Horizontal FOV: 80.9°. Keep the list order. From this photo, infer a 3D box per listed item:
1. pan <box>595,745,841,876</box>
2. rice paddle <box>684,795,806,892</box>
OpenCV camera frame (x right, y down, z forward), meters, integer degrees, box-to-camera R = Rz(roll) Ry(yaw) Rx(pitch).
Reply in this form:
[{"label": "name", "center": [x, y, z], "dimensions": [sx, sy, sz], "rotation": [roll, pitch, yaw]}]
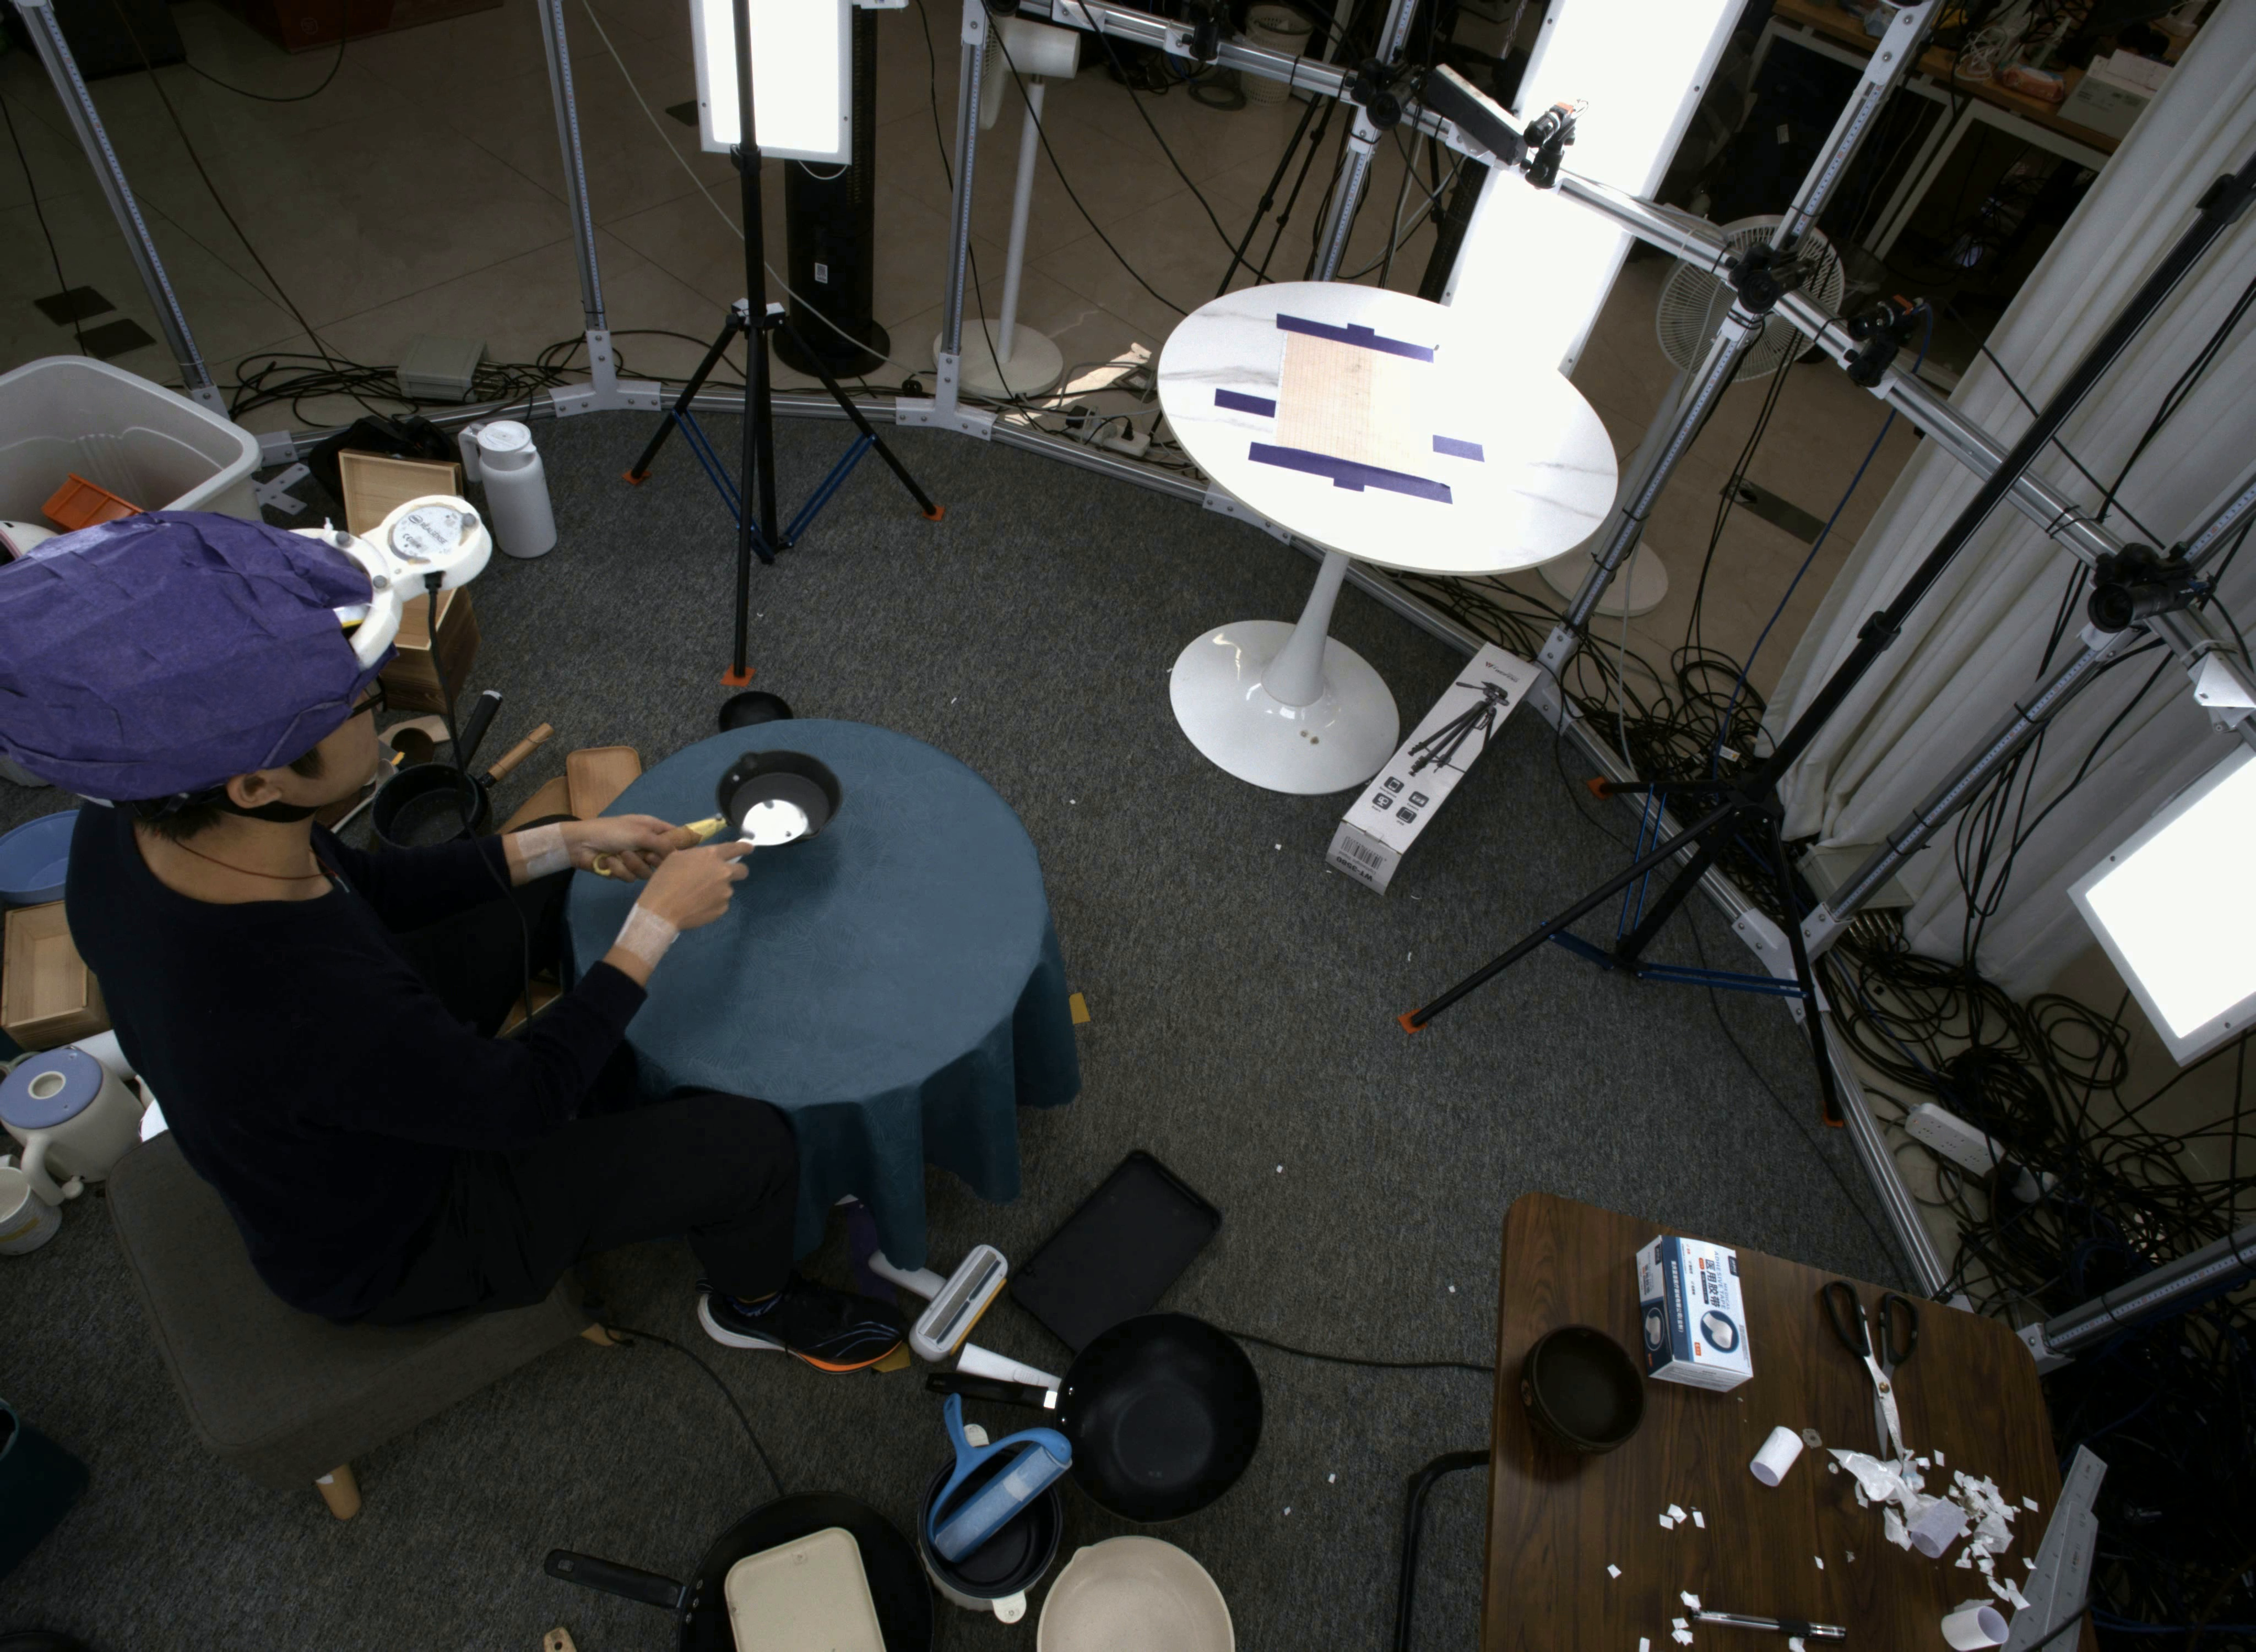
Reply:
[{"label": "pan", "center": [-0.504, -0.008, 1.584], "dimensions": [0.326, 0.050, 0.164], "rotation": [-26, 60, -33]}, {"label": "rice paddle", "center": [-0.453, 0.013, 1.539], "dimensions": [0.068, 0.030, 0.204], "rotation": [34, 35, 3]}]
